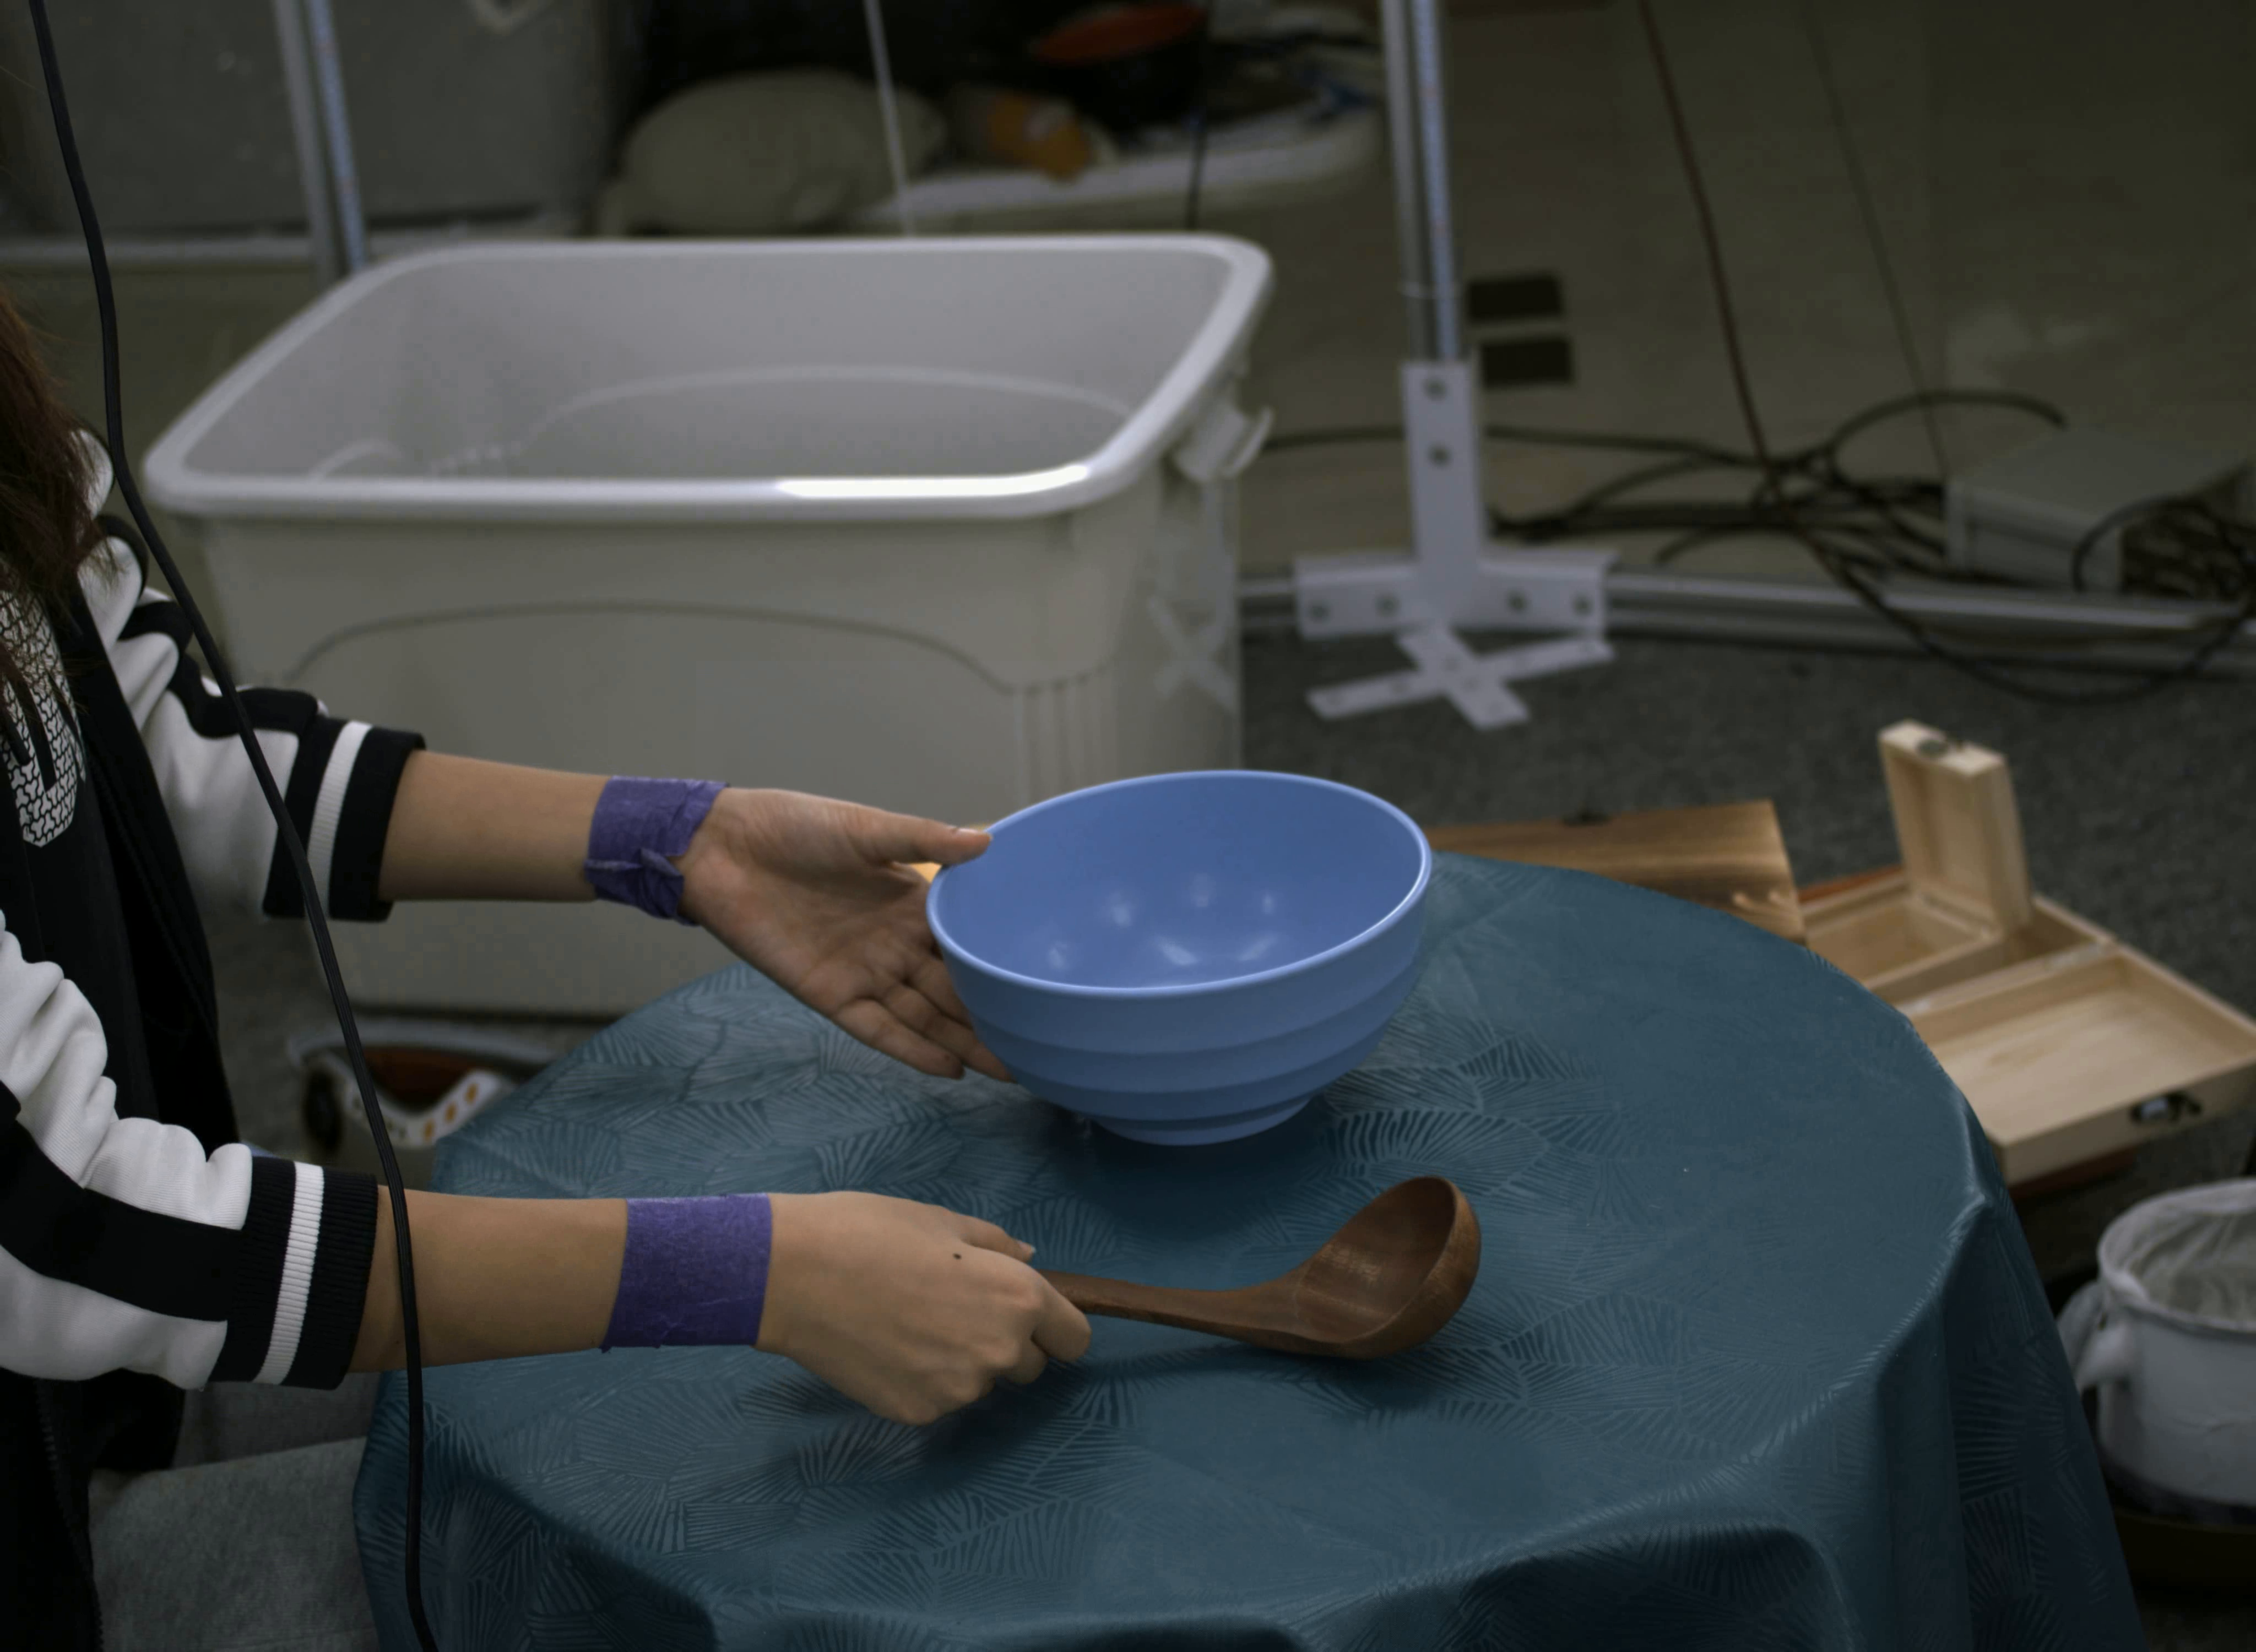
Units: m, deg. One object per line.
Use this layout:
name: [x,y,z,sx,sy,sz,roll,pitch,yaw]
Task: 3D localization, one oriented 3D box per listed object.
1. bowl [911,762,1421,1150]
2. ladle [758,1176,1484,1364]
bowl: [0.016,0.061,2.198,0.196,0.097,0.193,-2,30,1]
ladle: [-0.004,0.160,2.017,0.260,0.066,0.075,0,31,3]
